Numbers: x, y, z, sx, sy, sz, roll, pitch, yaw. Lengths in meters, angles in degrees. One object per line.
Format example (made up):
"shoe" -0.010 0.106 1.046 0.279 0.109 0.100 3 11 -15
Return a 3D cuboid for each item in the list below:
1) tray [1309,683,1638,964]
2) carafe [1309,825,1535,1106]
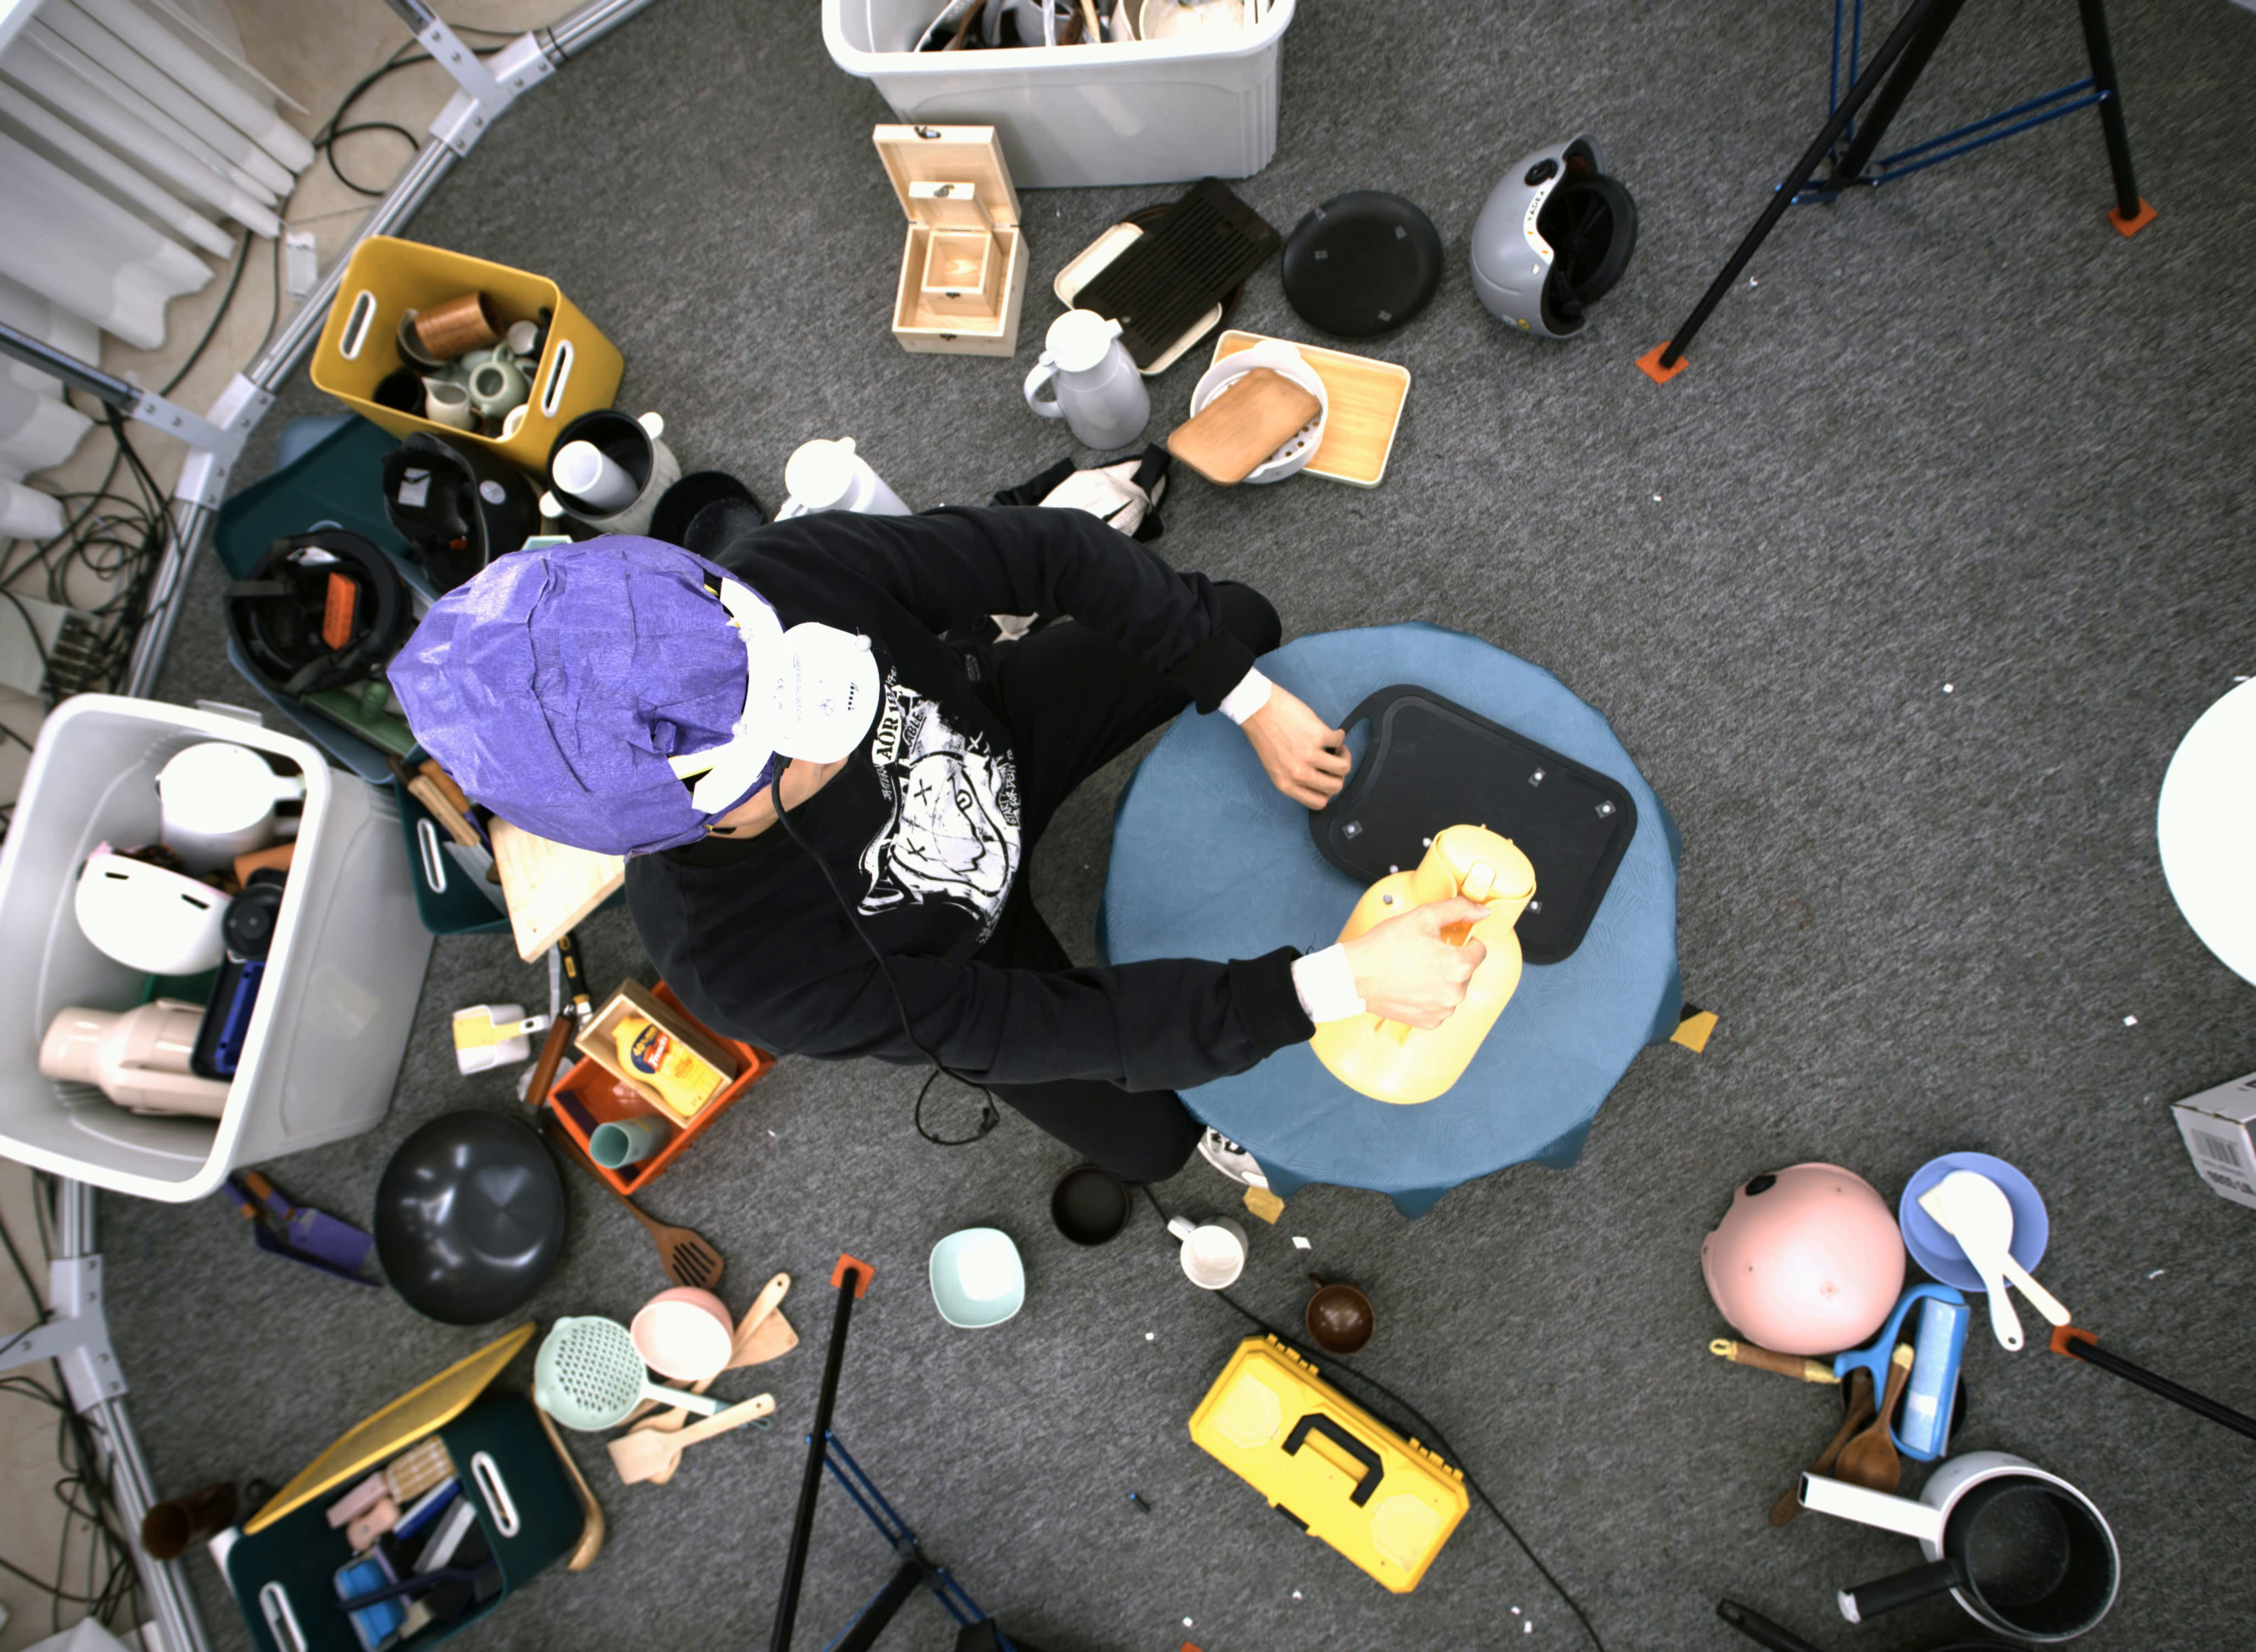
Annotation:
"tray" 0.352 -0.009 1.427 0.325 0.010 0.211 27 92 4
"carafe" 0.267 0.129 1.249 0.163 0.198 0.267 28 126 14
